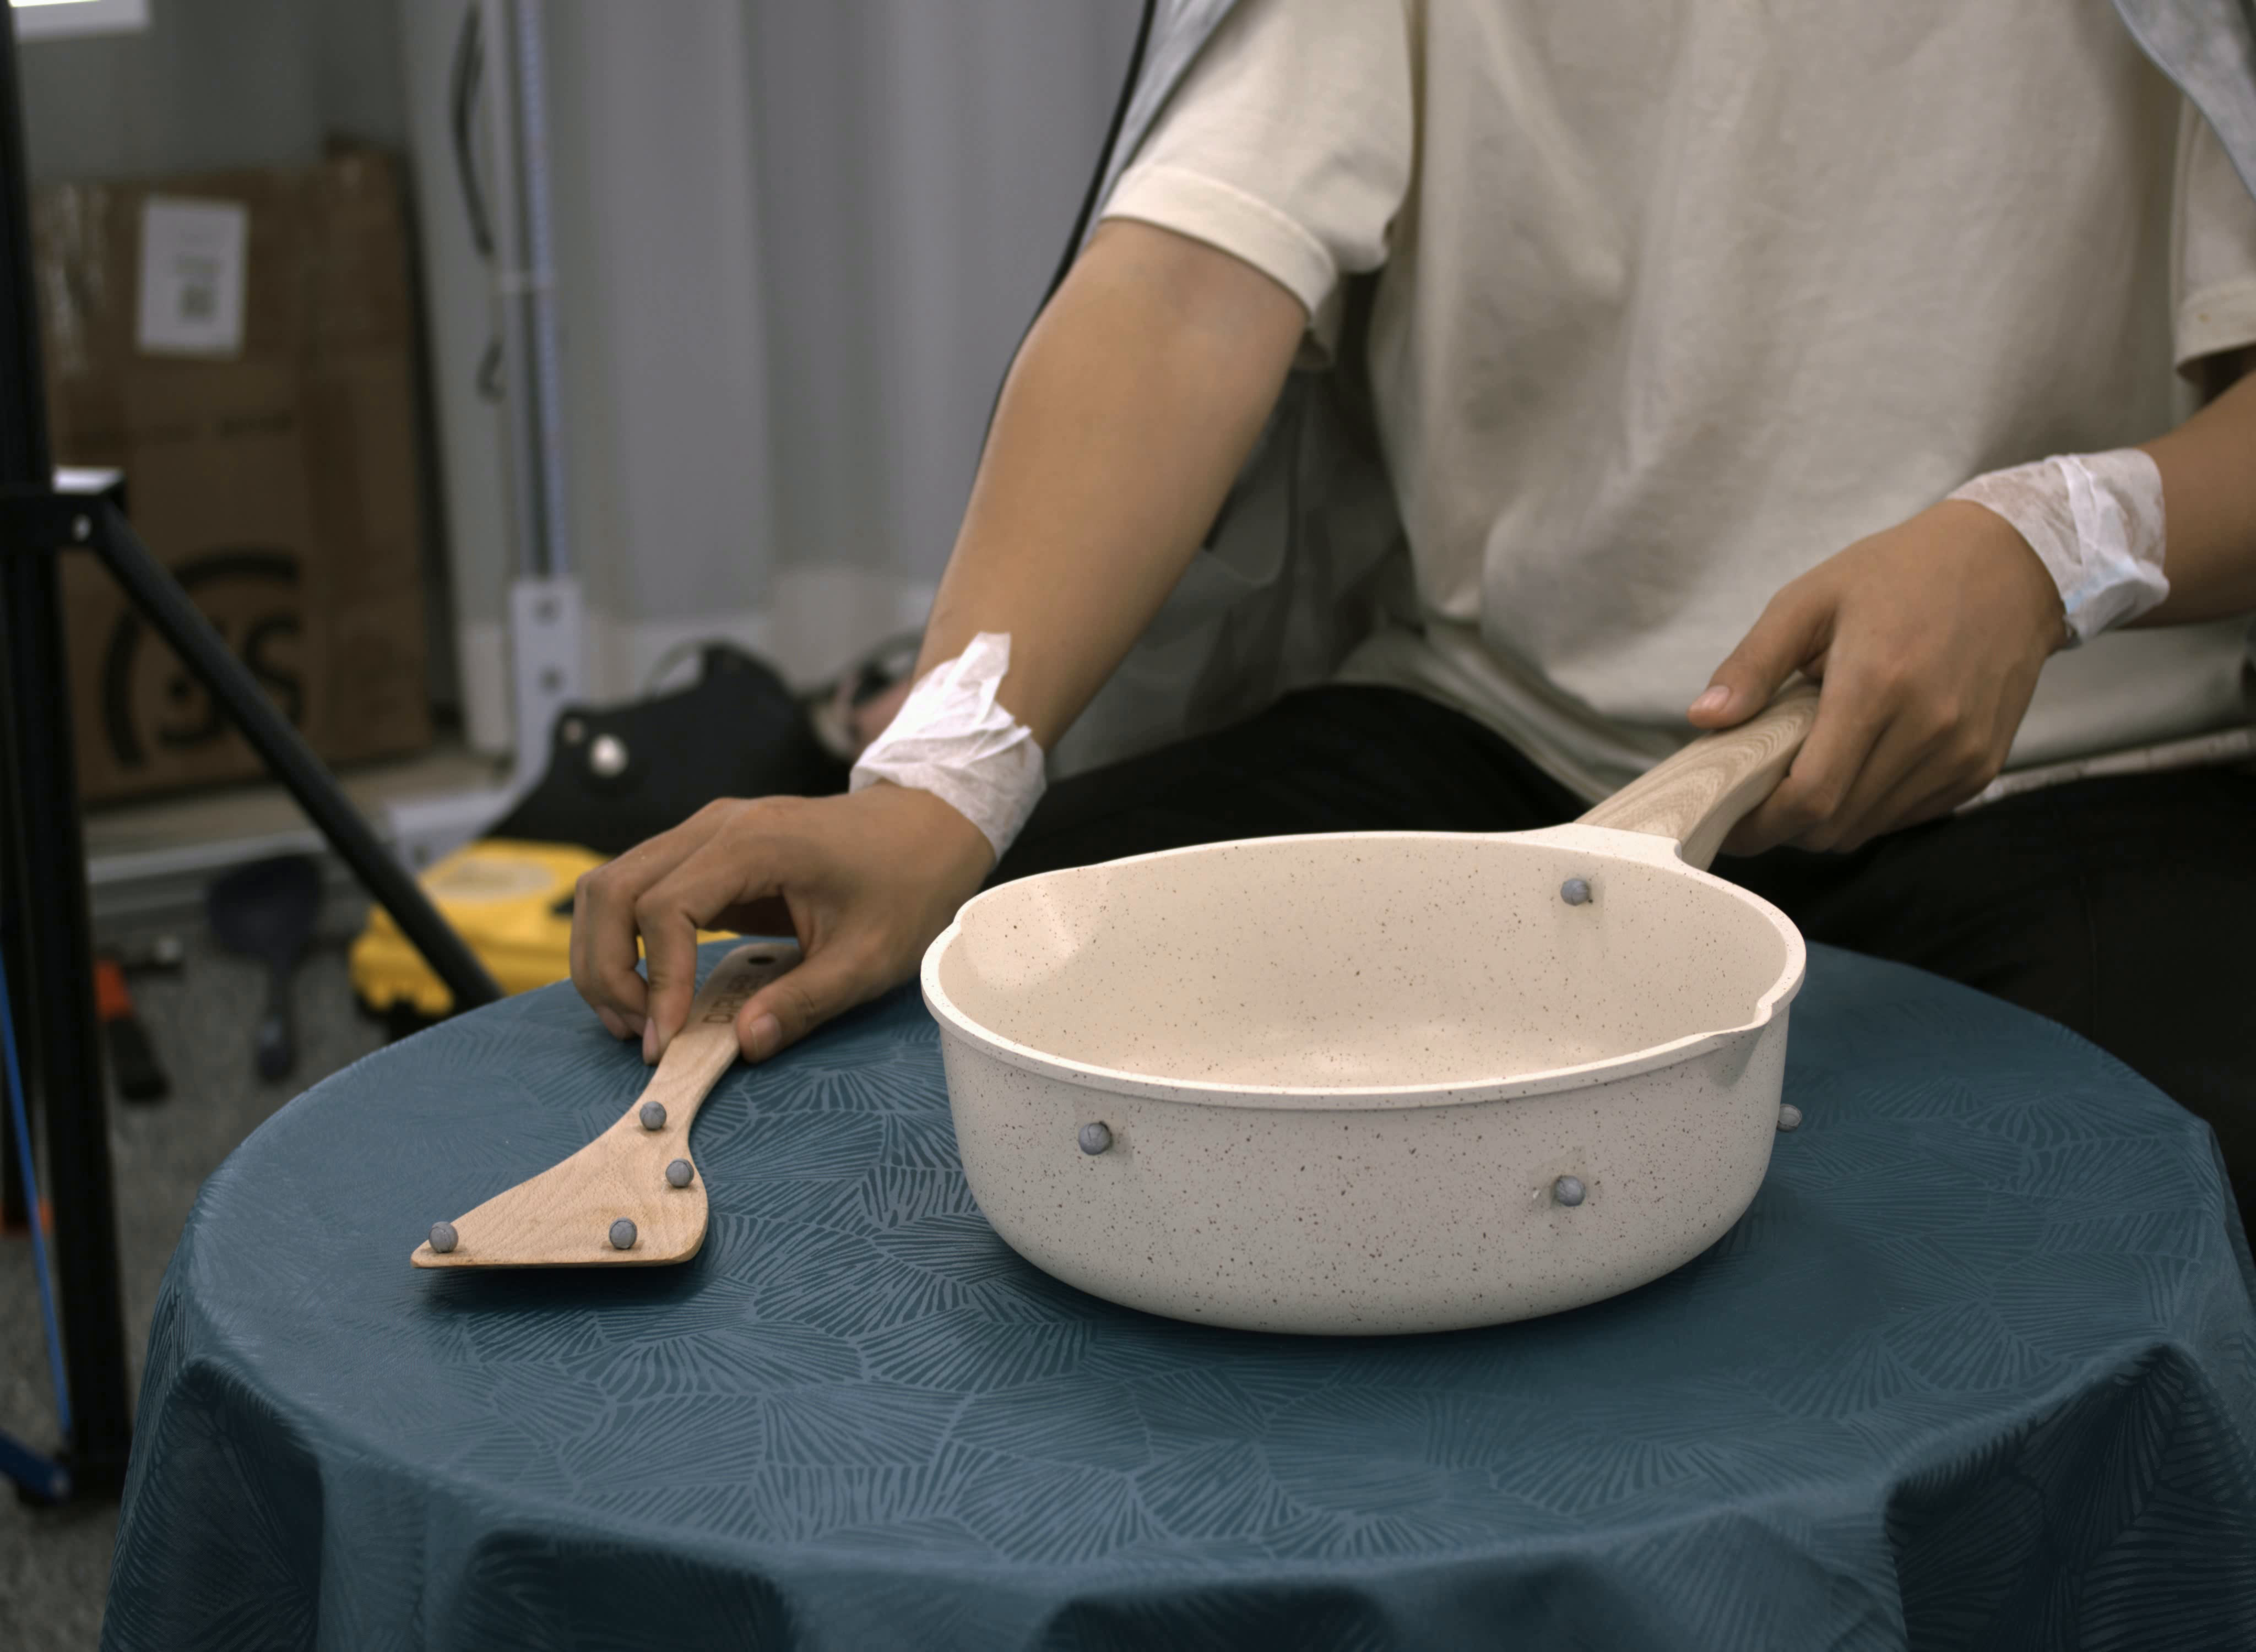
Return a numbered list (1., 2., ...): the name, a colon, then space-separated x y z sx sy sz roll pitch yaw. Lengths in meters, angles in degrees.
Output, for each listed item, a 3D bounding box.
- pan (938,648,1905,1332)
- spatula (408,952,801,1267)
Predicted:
1. pan: 0.125 0.044 1.576 0.269 0.102 0.426 7 18 36
2. spatula: -0.142 0.085 1.632 0.080 0.016 0.326 0 16 8
